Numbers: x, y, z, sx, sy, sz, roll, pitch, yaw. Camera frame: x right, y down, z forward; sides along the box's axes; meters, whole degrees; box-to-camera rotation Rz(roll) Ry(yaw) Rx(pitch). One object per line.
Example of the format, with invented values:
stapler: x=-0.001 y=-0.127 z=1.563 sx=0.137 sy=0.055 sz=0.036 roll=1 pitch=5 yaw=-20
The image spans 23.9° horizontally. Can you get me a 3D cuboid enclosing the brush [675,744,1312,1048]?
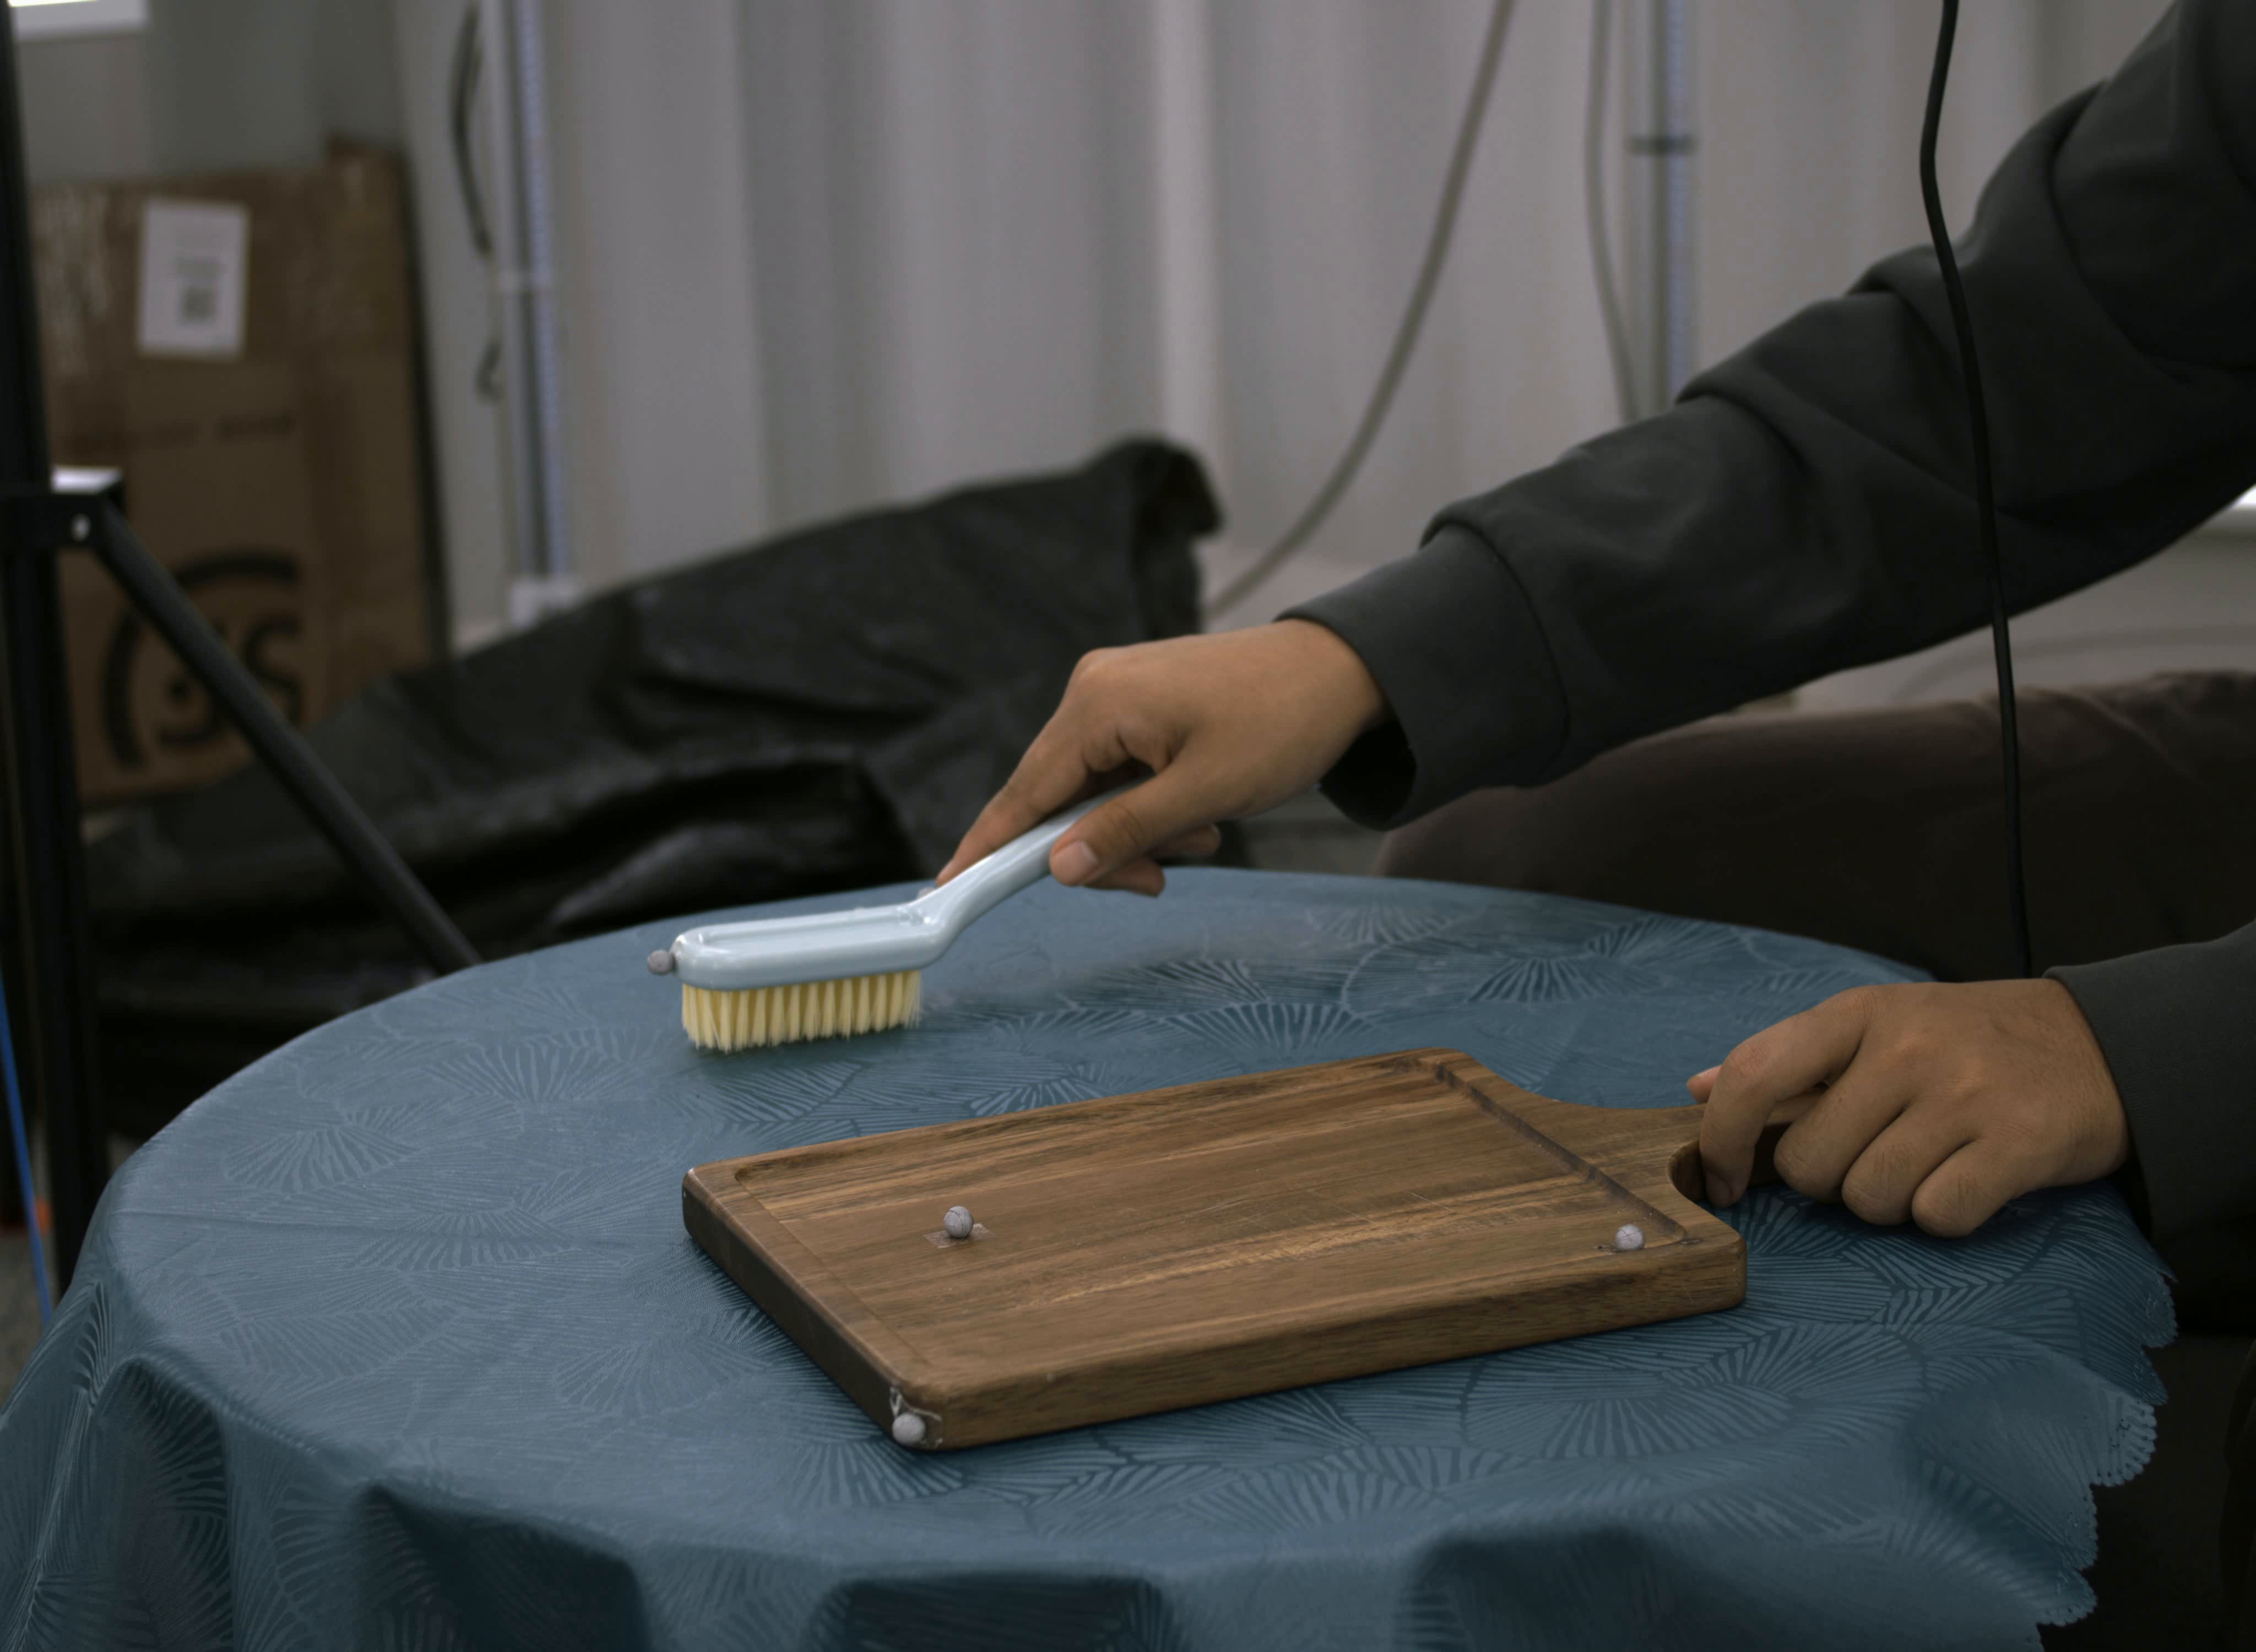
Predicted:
brush: x=-0.040 y=0.024 z=1.733 sx=0.225 sy=0.049 sz=0.038 roll=-22 pitch=23 yaw=-20

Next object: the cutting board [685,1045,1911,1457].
cutting board: x=0.068 y=0.109 z=1.506 sx=0.346 sy=0.023 sz=0.205 roll=-8 pitch=17 yaw=-19
